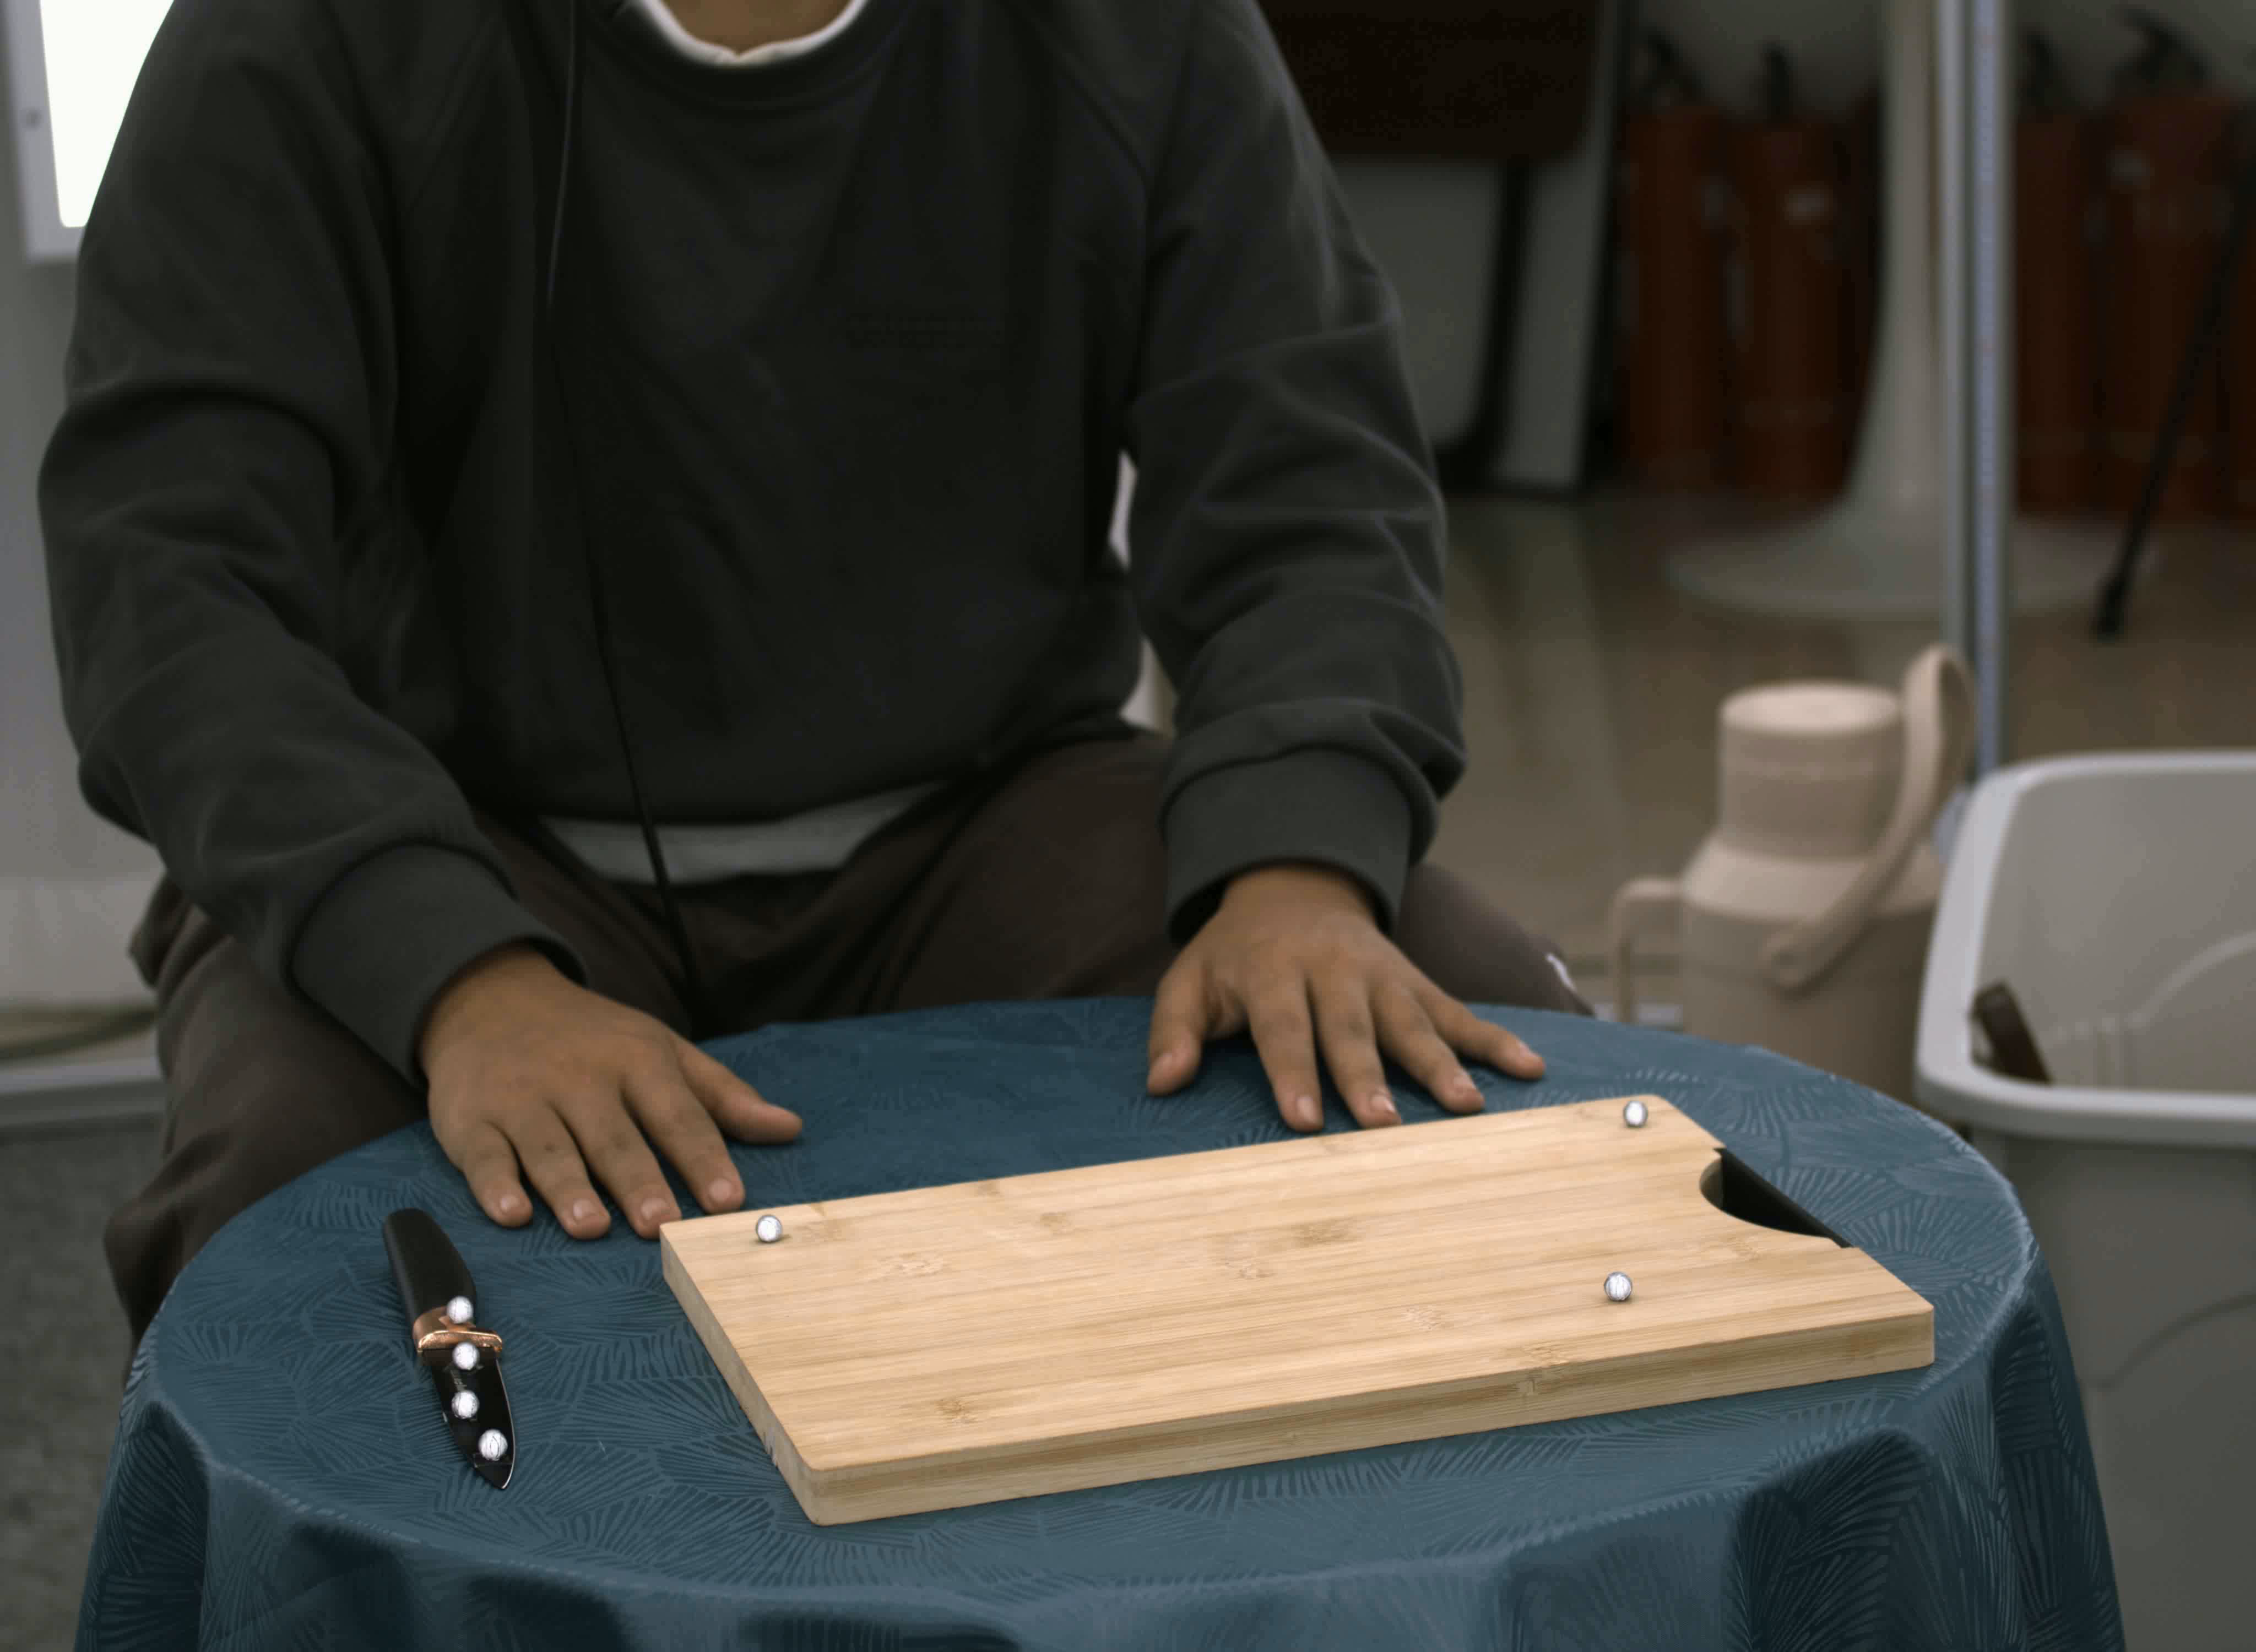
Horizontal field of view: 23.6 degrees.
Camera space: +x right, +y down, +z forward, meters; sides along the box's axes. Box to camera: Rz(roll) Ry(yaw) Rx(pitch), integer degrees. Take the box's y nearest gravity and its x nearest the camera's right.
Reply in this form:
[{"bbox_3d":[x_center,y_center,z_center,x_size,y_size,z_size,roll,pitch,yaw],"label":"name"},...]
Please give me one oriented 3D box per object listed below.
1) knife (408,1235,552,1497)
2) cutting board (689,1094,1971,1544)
[{"bbox_3d":[-0.197,0.163,1.641,0.026,0.017,0.227,1,13,-14],"label":"knife"},{"bbox_3d":[0.050,0.143,1.639,0.342,0.024,0.252,-7,14,-13],"label":"cutting board"}]
